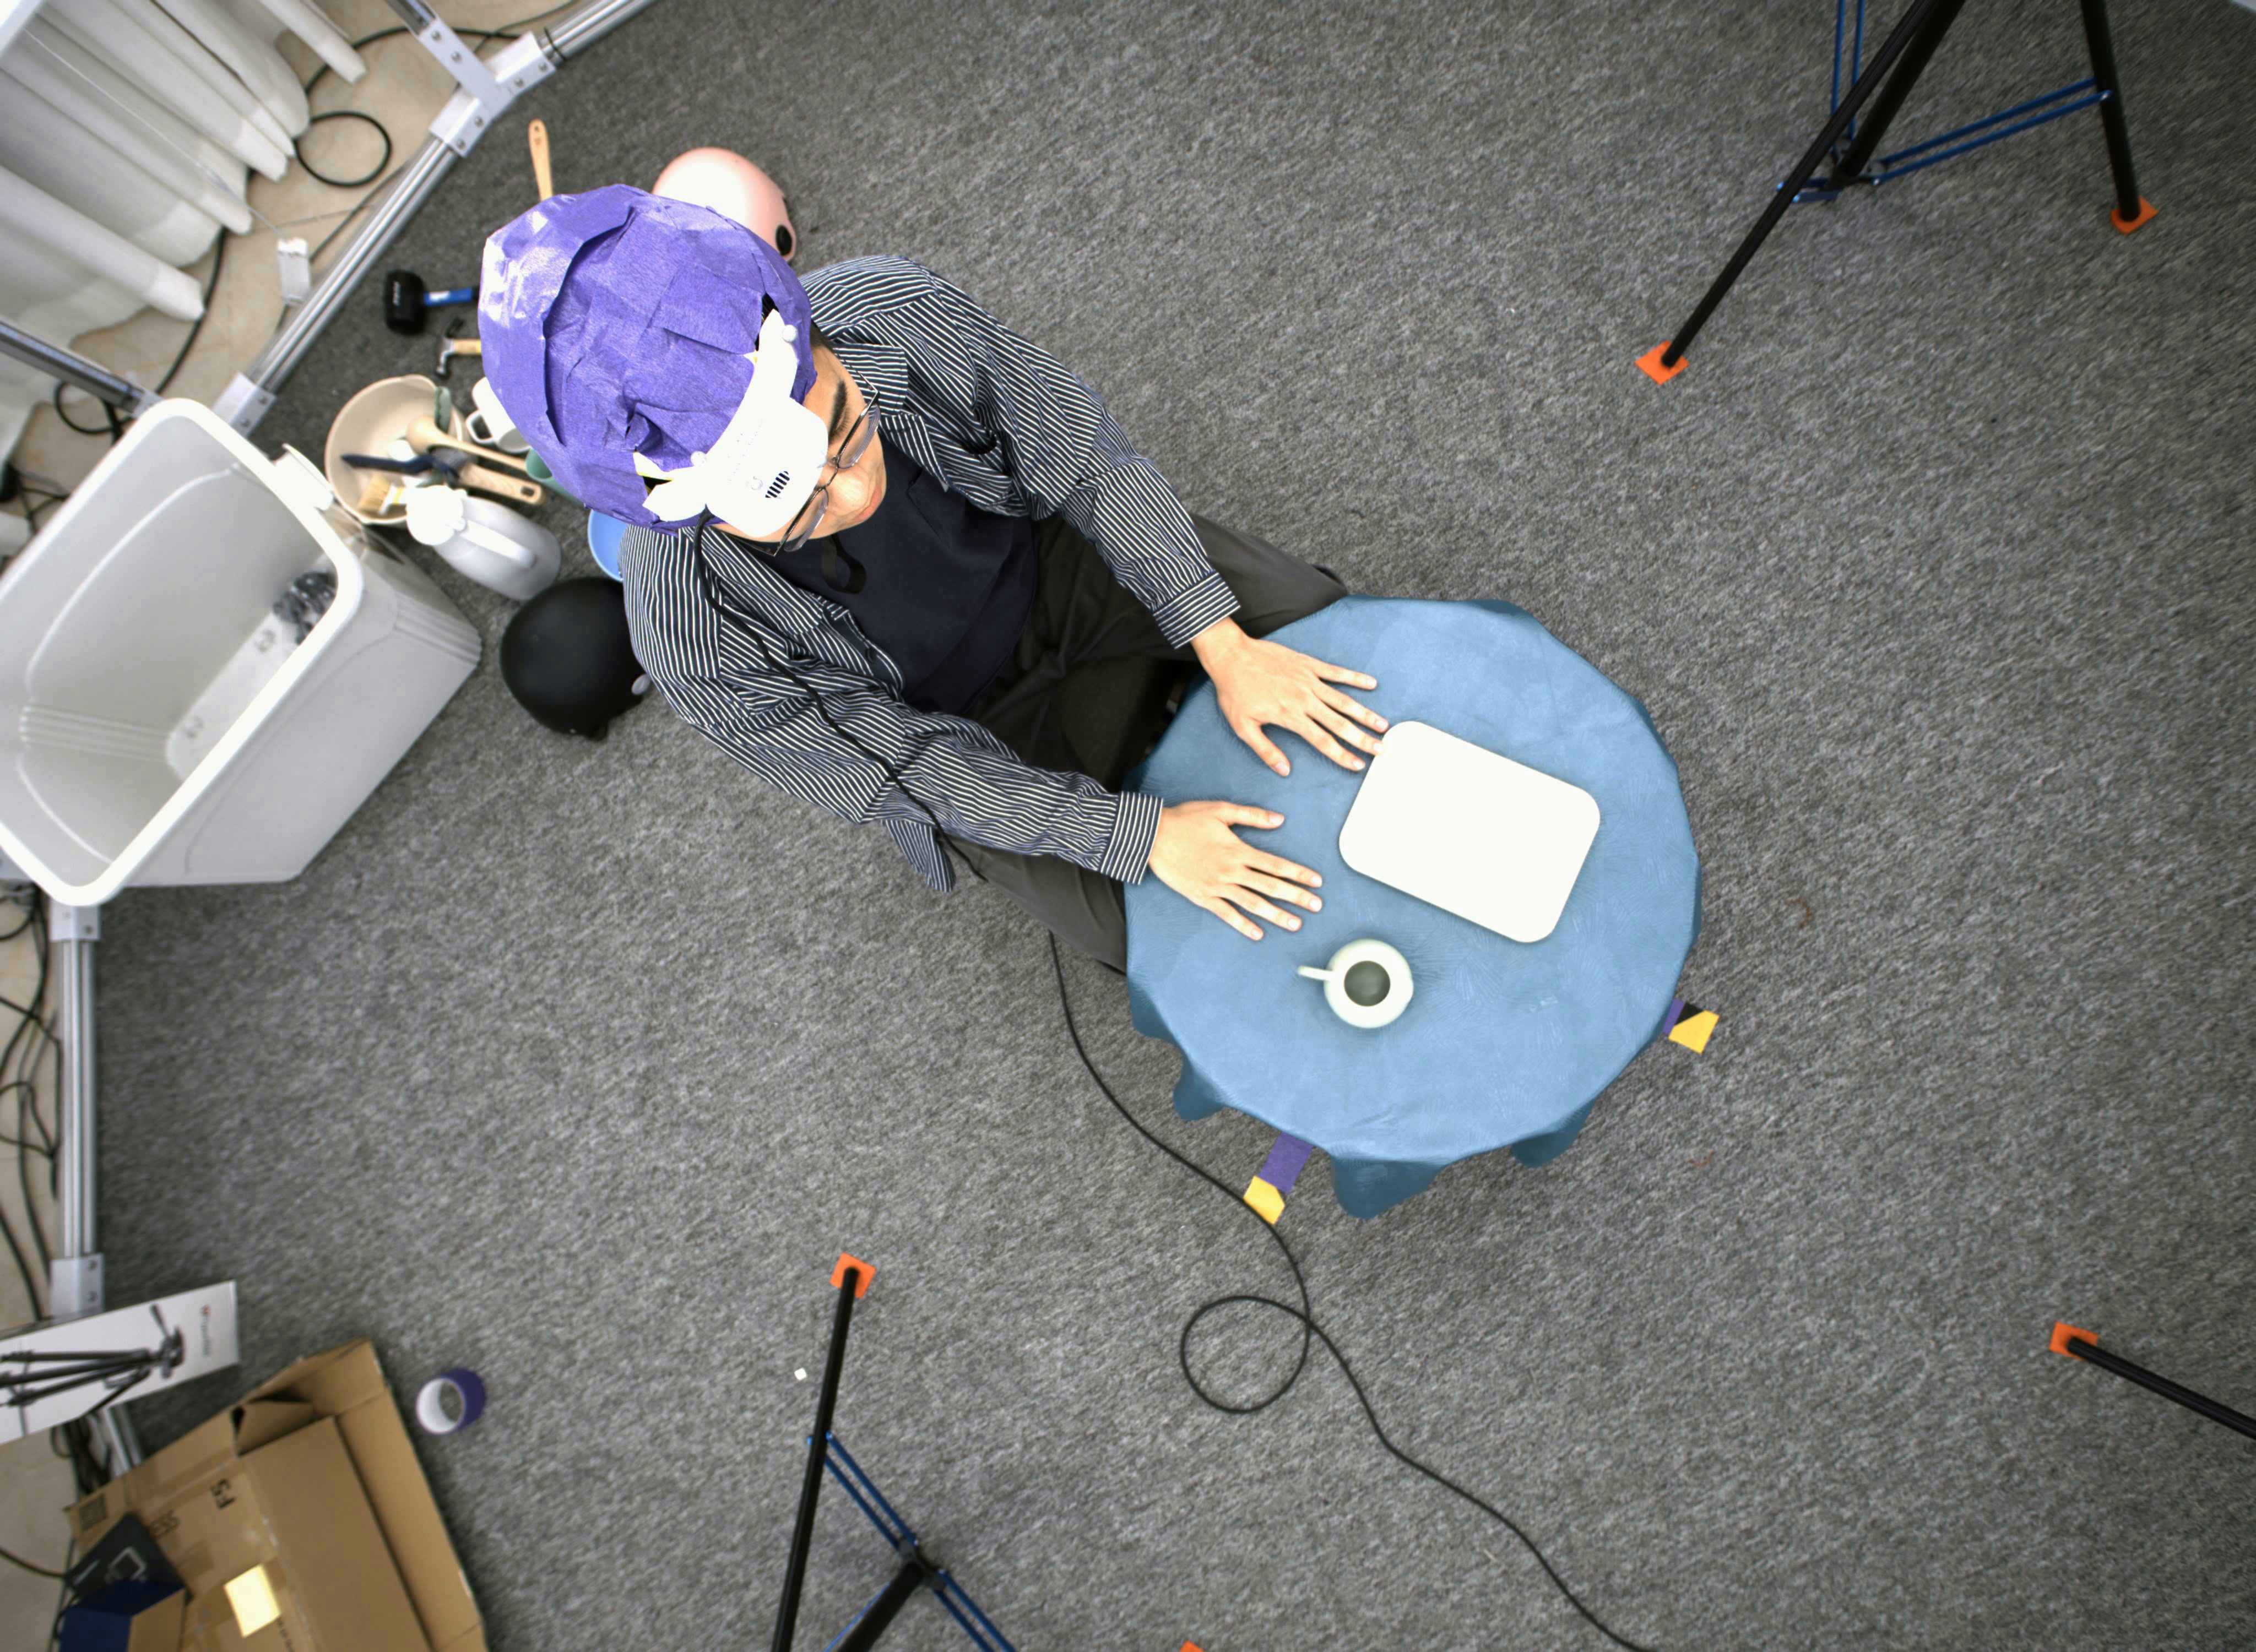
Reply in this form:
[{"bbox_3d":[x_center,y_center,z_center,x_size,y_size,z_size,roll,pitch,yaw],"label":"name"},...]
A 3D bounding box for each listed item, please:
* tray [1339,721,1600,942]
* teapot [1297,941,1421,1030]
[{"bbox_3d":[0.353,0.003,1.428,0.239,0.017,0.171,24,91,11],"label":"tray"},{"bbox_3d":[0.236,0.160,1.421,0.128,0.061,0.091,14,91,11],"label":"teapot"}]
